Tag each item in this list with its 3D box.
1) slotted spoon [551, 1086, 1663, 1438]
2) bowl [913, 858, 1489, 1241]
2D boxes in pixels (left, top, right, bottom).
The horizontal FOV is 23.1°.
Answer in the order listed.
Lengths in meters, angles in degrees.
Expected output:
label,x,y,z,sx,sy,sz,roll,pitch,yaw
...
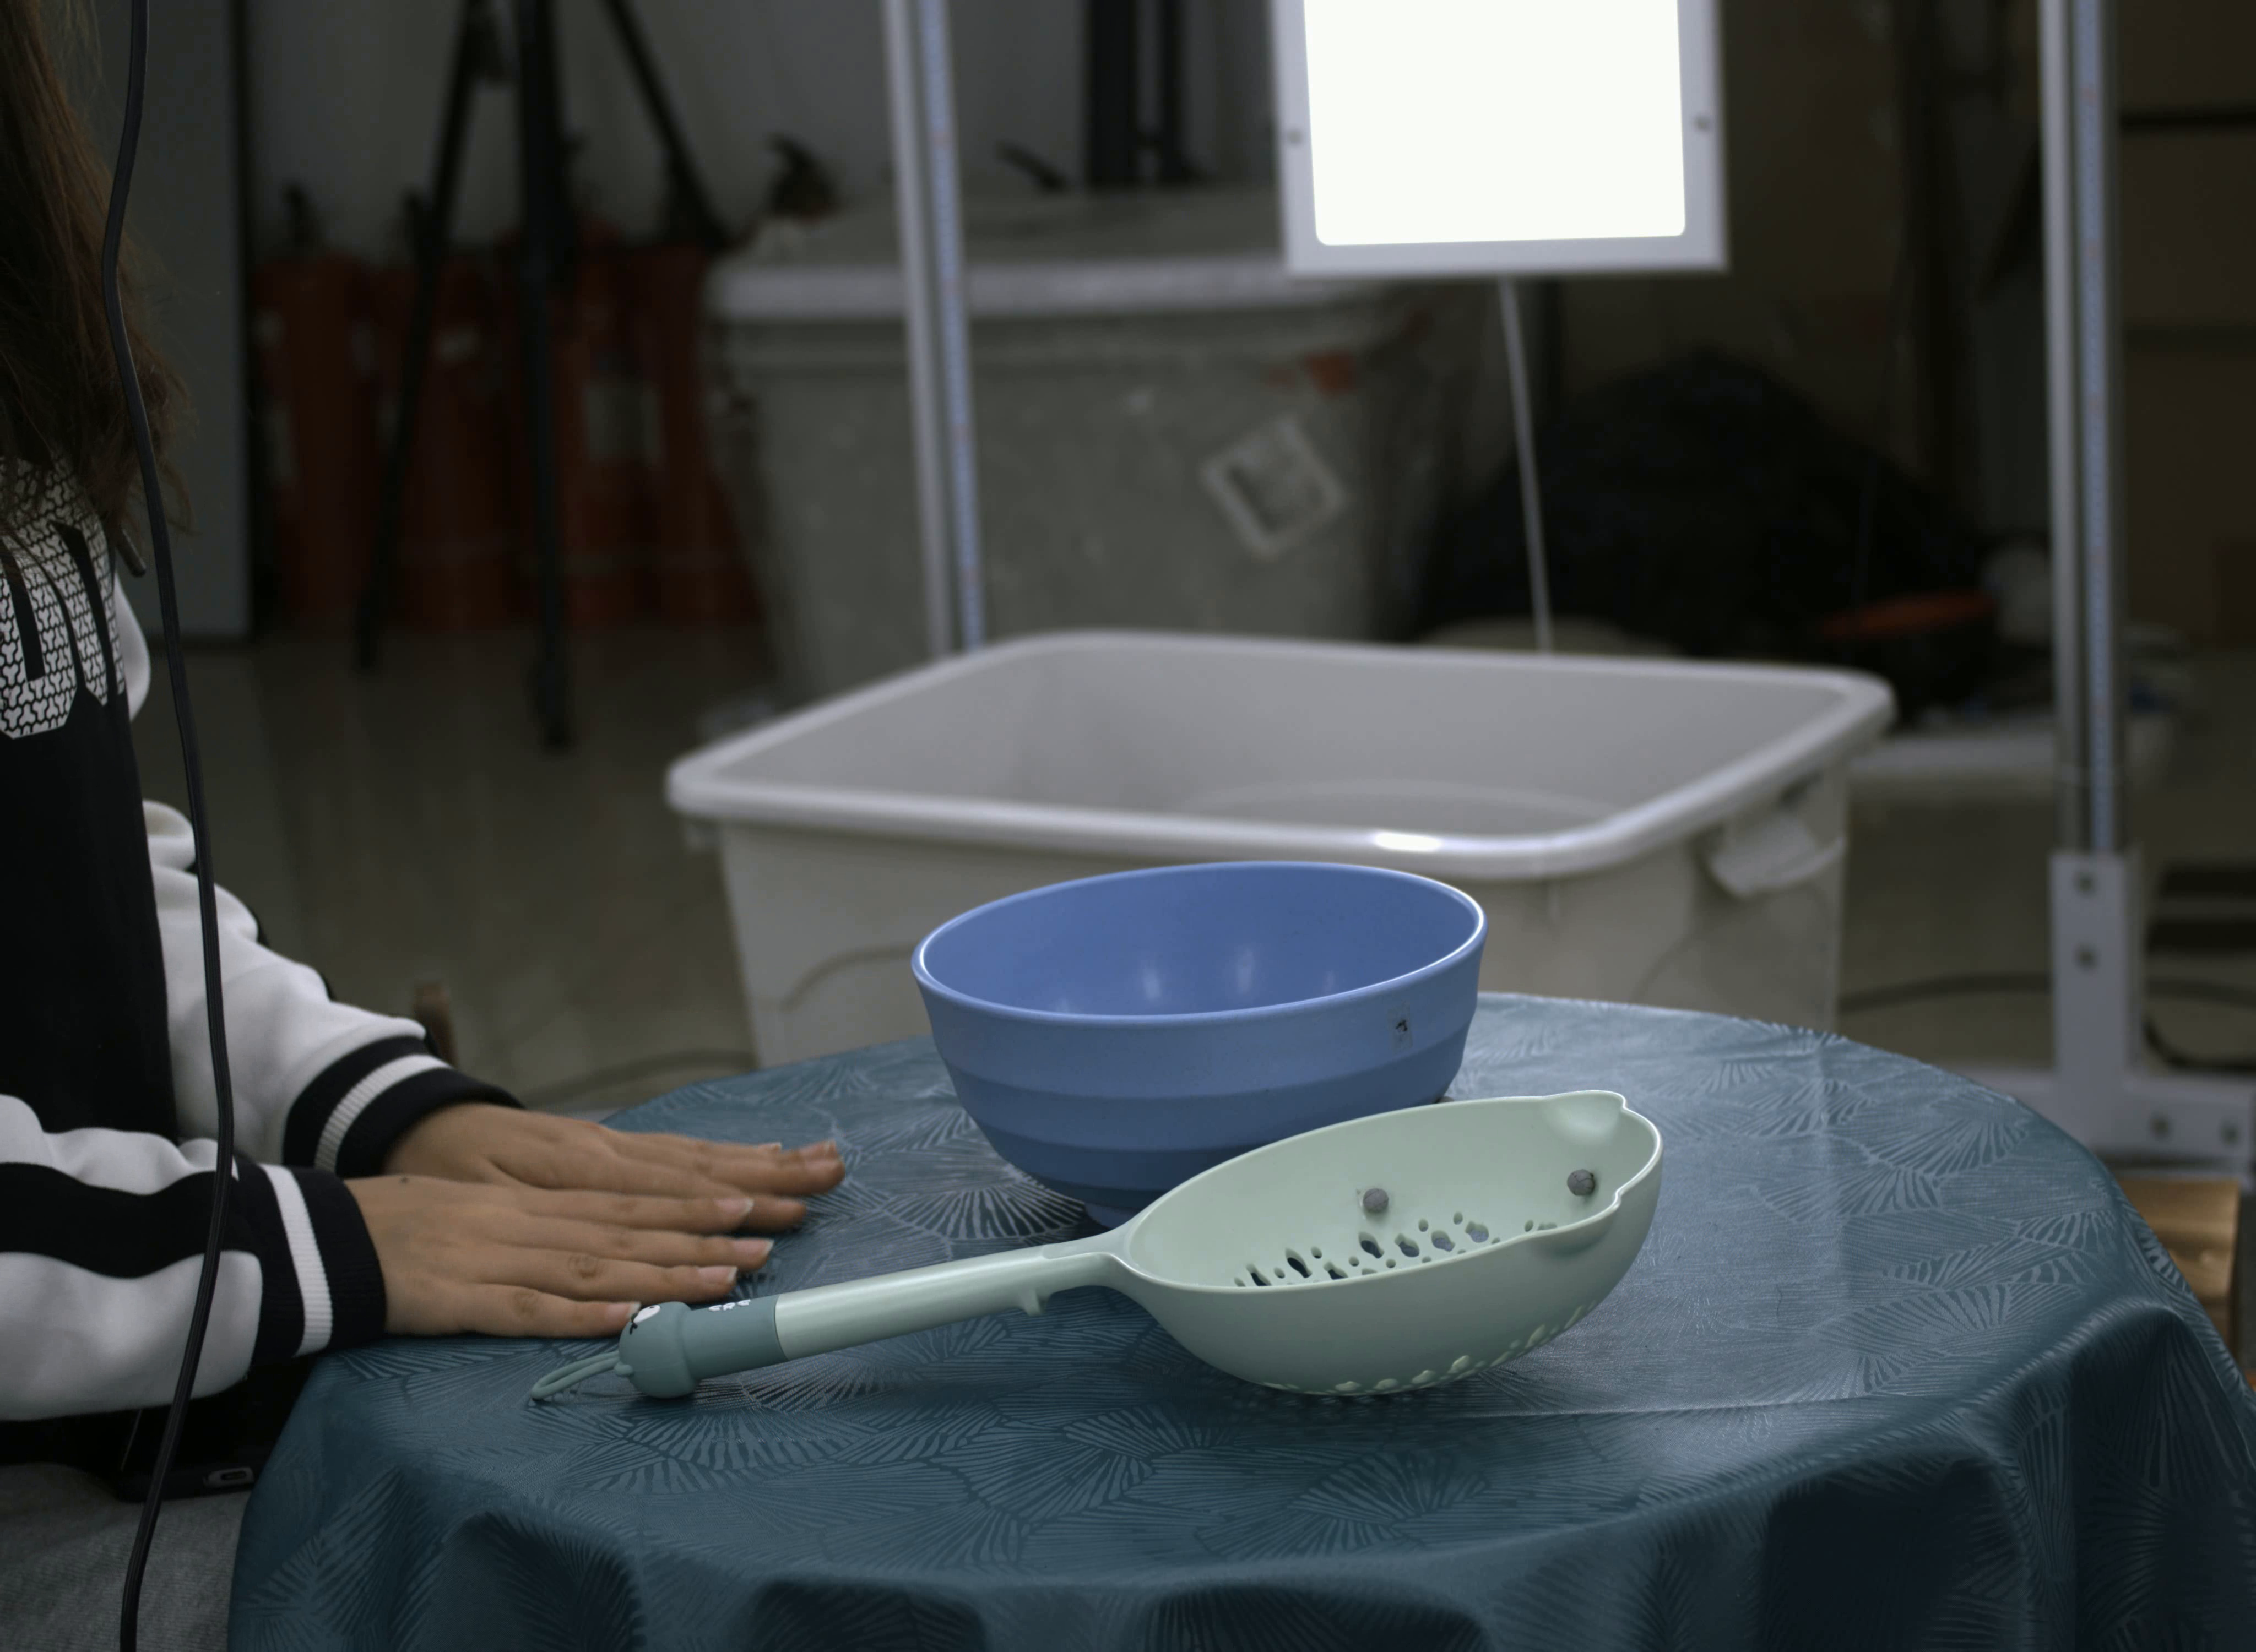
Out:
label,x,y,z,sx,sy,sz,roll,pitch,yaw
slotted spoon,-0.010,0.144,1.710,0.361,0.075,0.168,-4,13,10
bowl,0.028,0.082,1.871,0.196,0.096,0.196,-5,14,0
